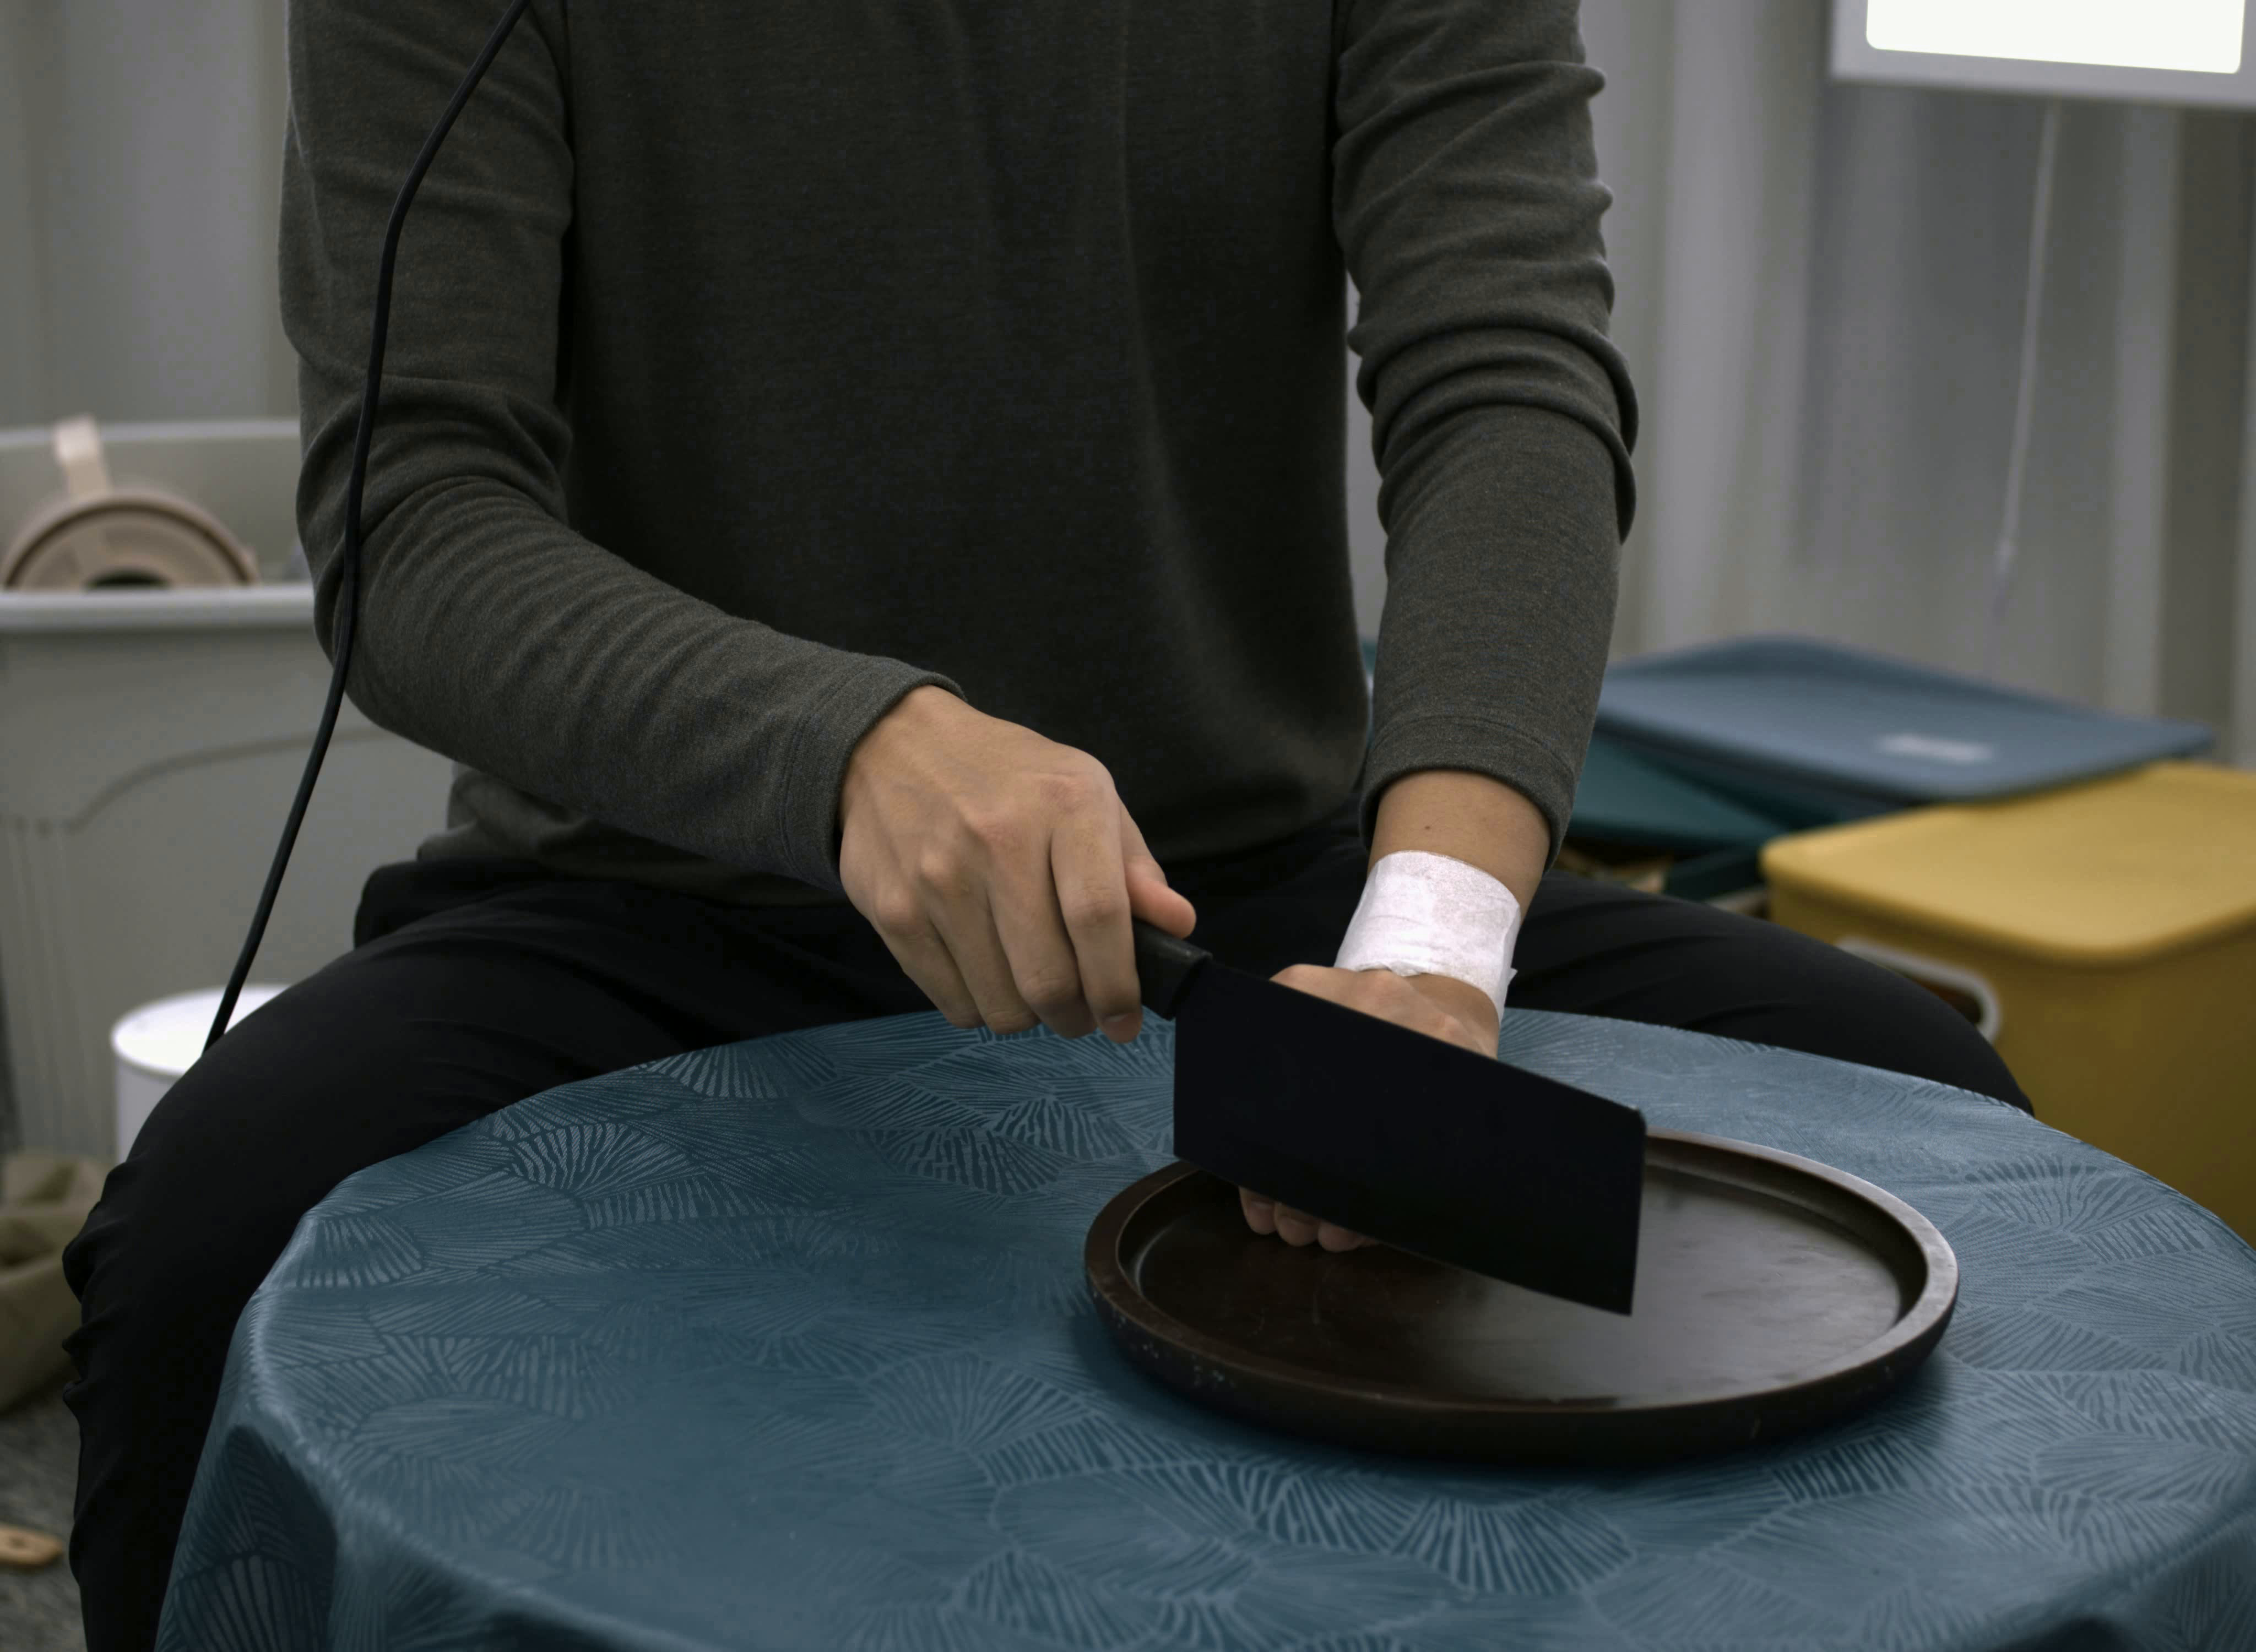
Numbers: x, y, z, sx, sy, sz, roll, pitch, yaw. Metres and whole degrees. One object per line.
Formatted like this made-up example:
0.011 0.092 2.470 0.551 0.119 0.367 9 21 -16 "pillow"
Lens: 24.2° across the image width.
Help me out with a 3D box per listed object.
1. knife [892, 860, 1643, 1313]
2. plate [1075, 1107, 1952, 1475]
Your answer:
0.035 0.069 1.526 0.021 0.081 0.298 -14 27 -43 "knife"
0.110 0.131 1.517 0.254 0.029 0.253 0 16 1 "plate"
